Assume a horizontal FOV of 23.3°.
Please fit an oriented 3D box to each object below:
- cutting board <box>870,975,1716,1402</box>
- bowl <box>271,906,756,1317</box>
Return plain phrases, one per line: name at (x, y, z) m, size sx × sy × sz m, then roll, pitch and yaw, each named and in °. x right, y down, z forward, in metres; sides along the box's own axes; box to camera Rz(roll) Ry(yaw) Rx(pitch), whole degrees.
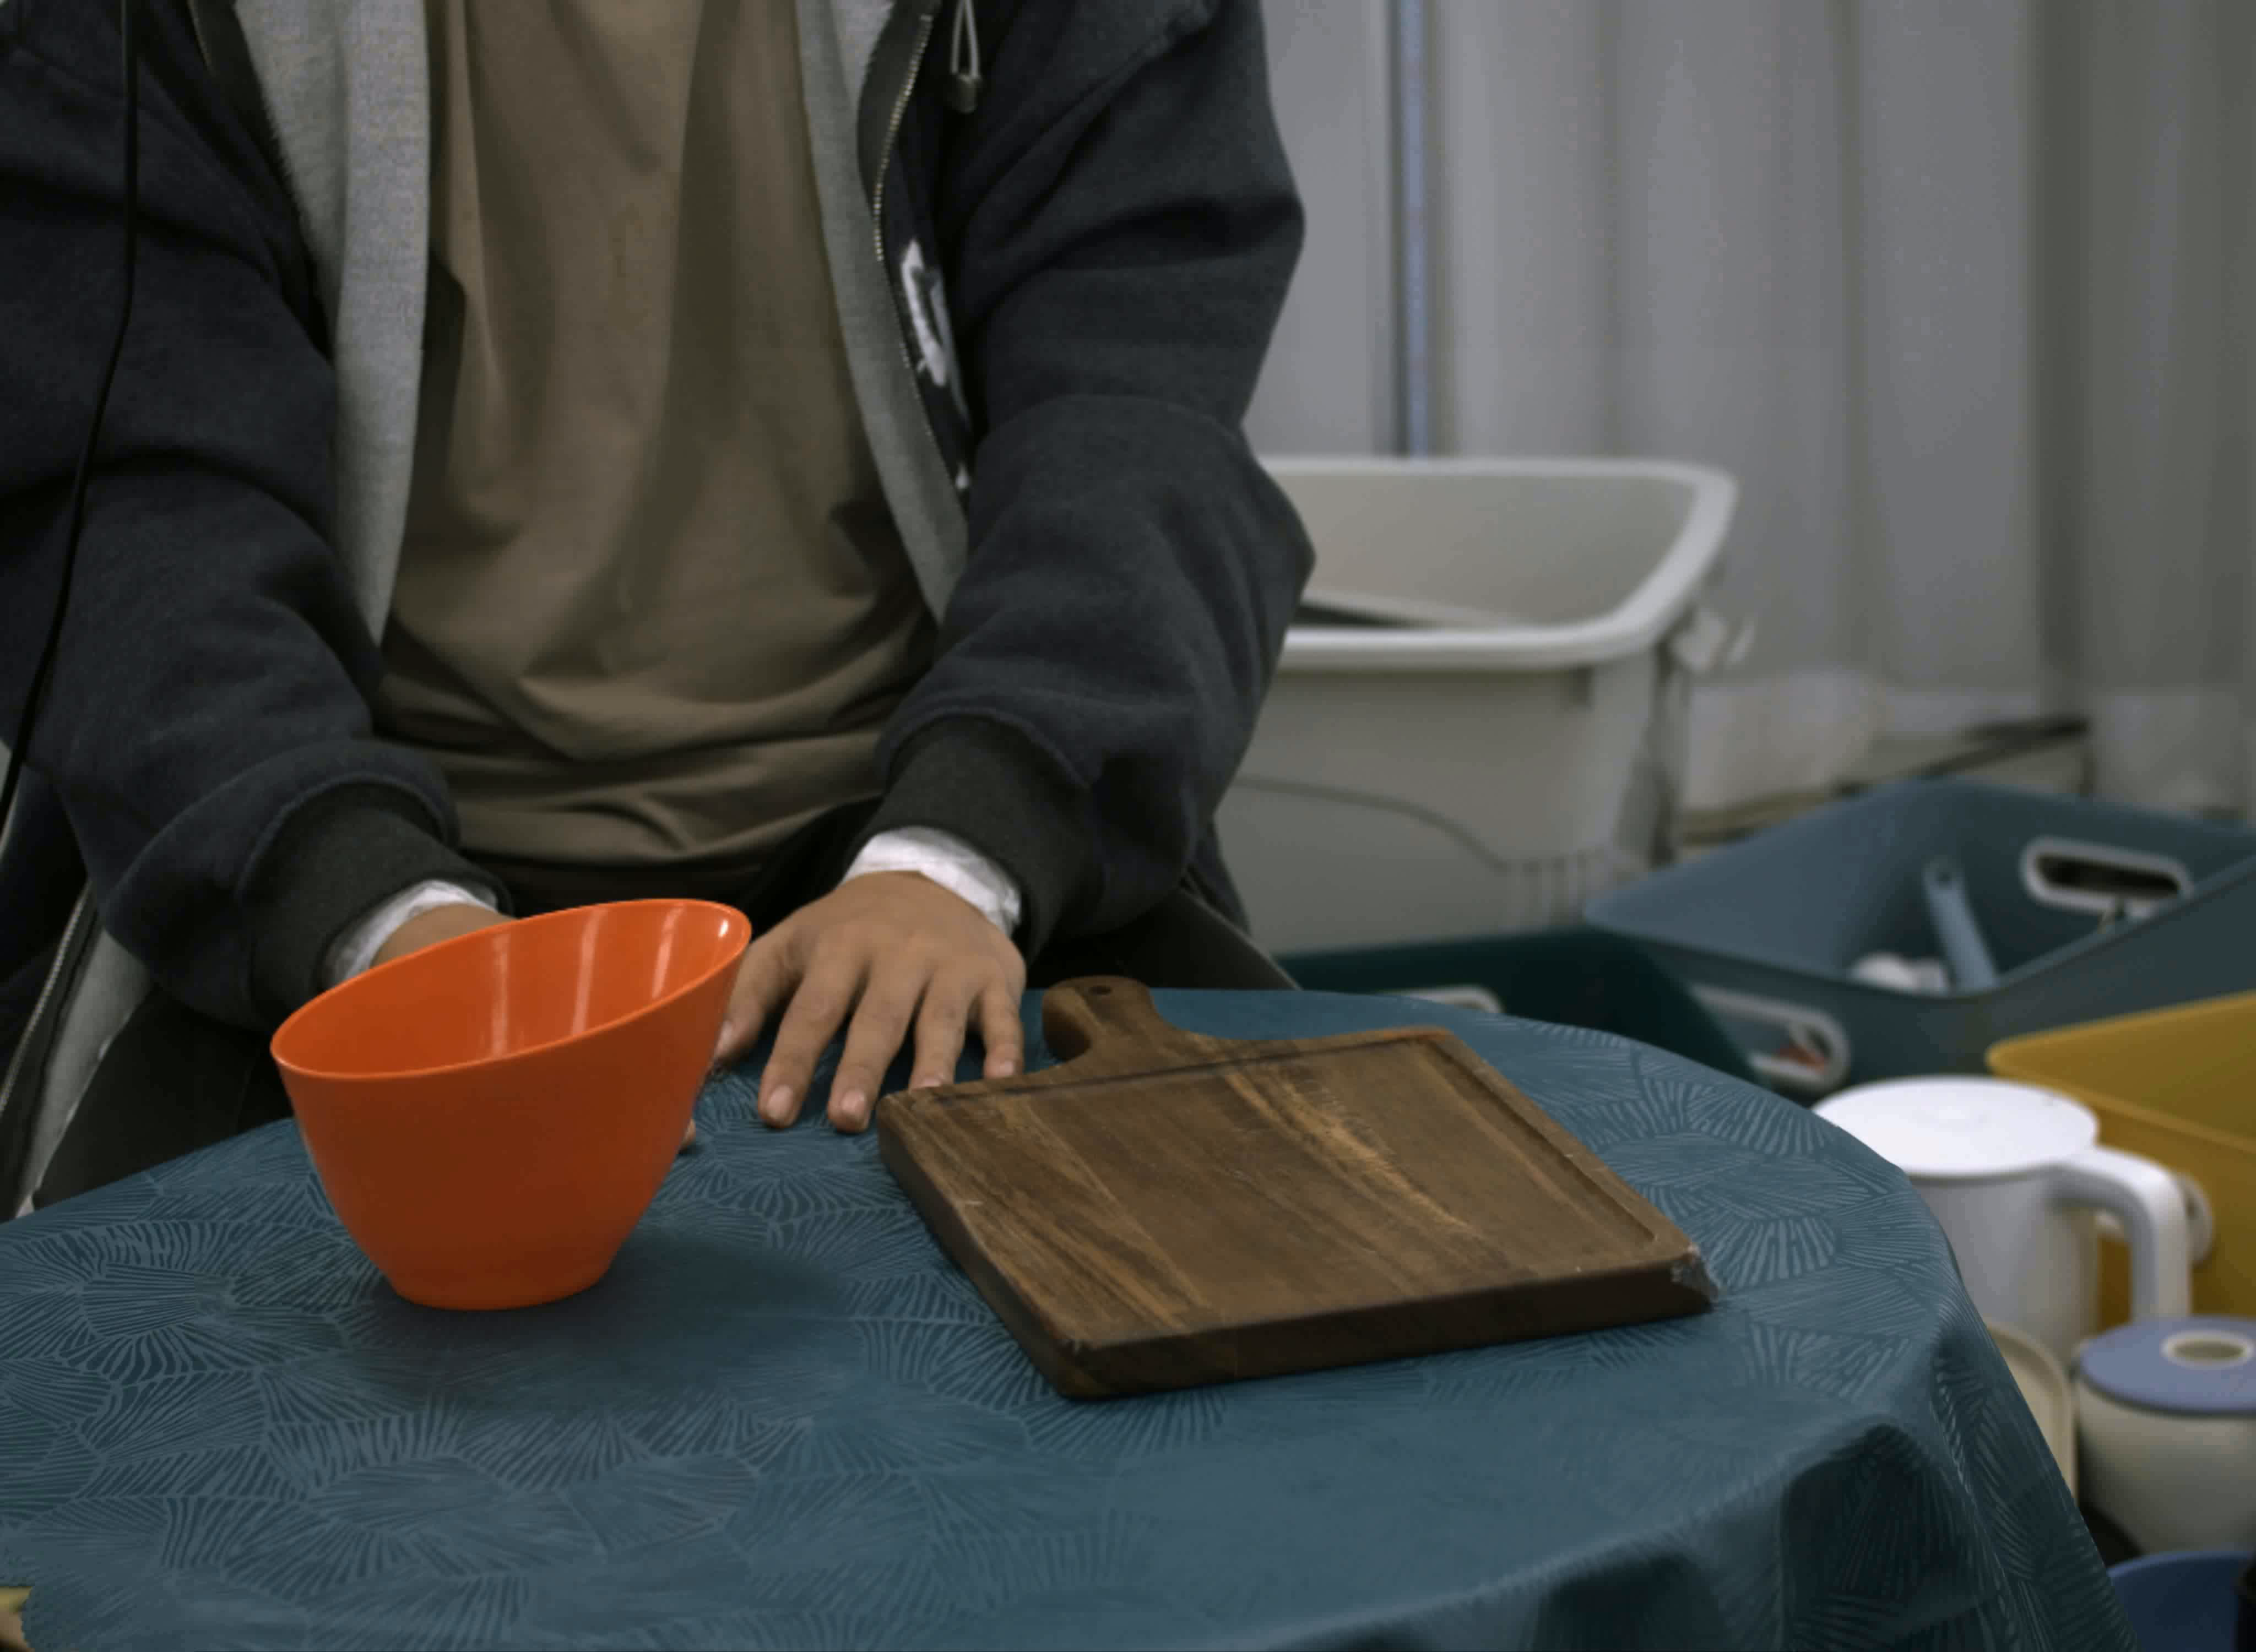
cutting board at (0.031, 0.102, 1.719) m, size 0.200 × 0.023 × 0.355 m, roll -7°, pitch 15°, yaw -14°
bowl at (-0.183, 0.089, 1.657) m, size 0.147 × 0.104 × 0.149 m, roll -3°, pitch 15°, yaw 0°
